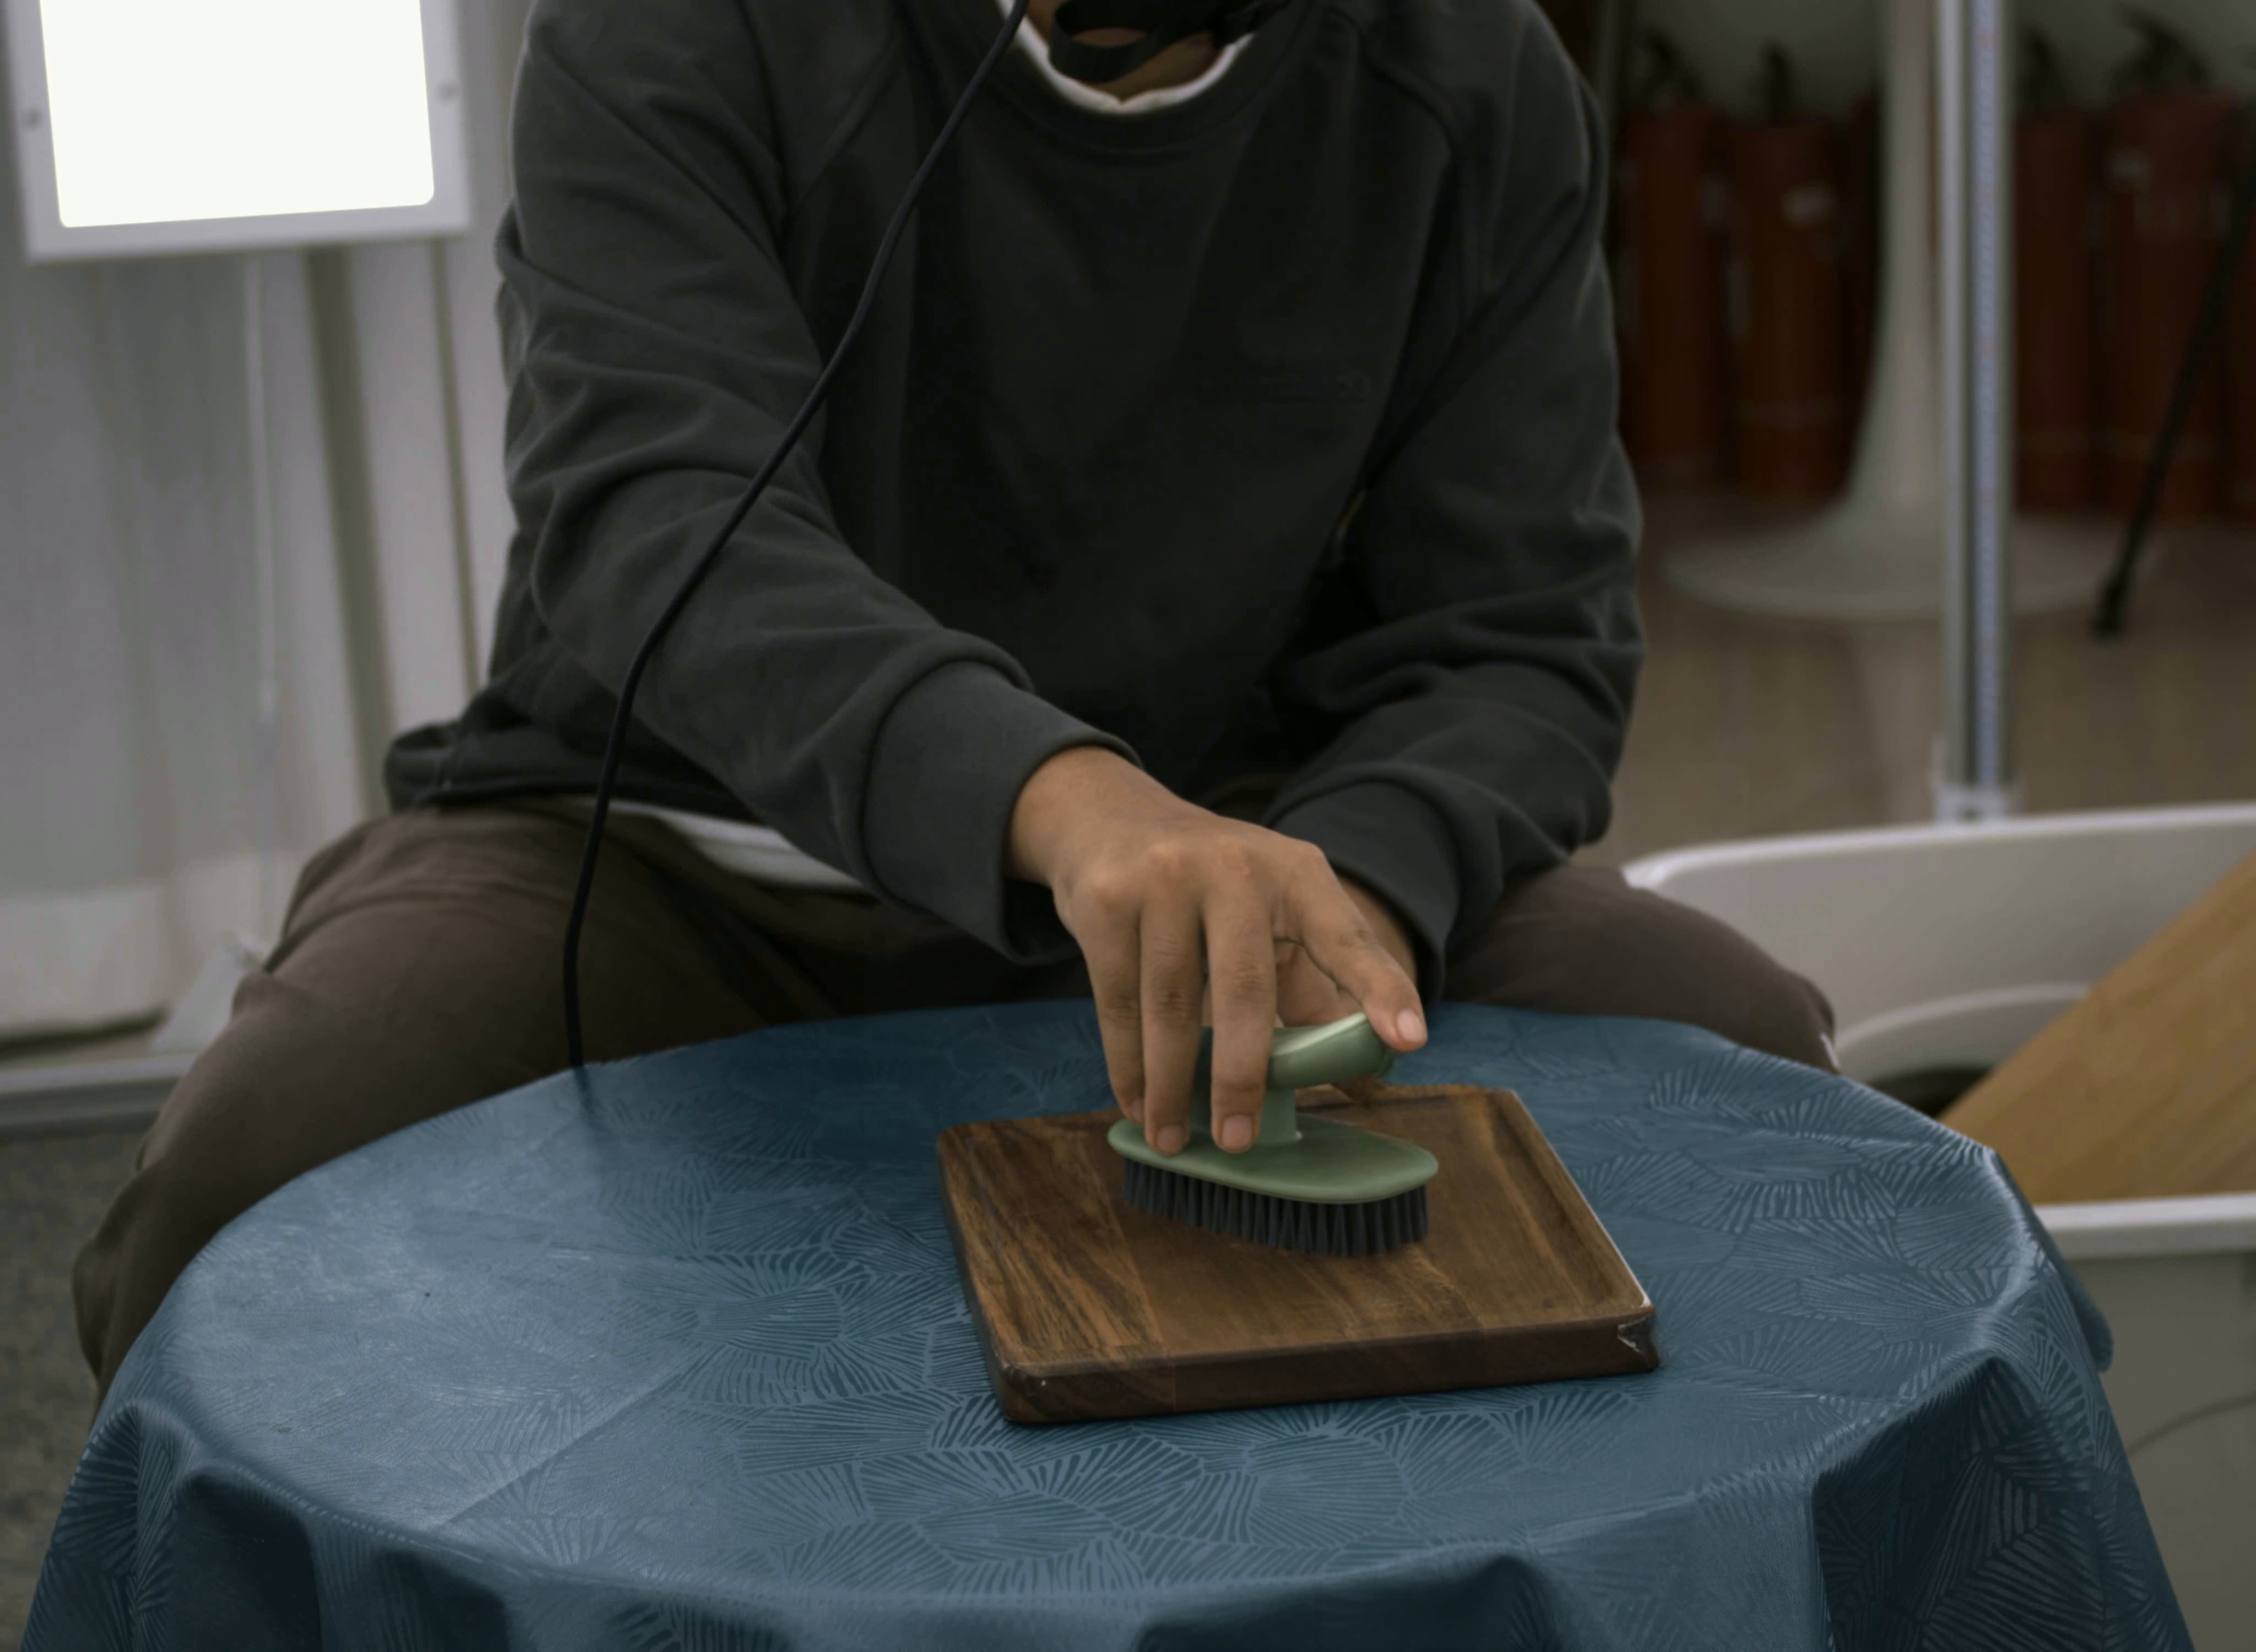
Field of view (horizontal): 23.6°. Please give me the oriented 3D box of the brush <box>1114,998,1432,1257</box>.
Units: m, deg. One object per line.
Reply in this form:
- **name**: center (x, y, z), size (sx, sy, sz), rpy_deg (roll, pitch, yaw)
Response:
- **brush**: center (0.046, 0.098, 1.691), size (0.058, 0.076, 0.124), rpy_deg (-12, -1, -39)

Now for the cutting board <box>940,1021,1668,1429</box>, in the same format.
- **cutting board**: center (0.043, 0.118, 1.730), size (0.198, 0.023, 0.353), rpy_deg (-5, 14, -5)
